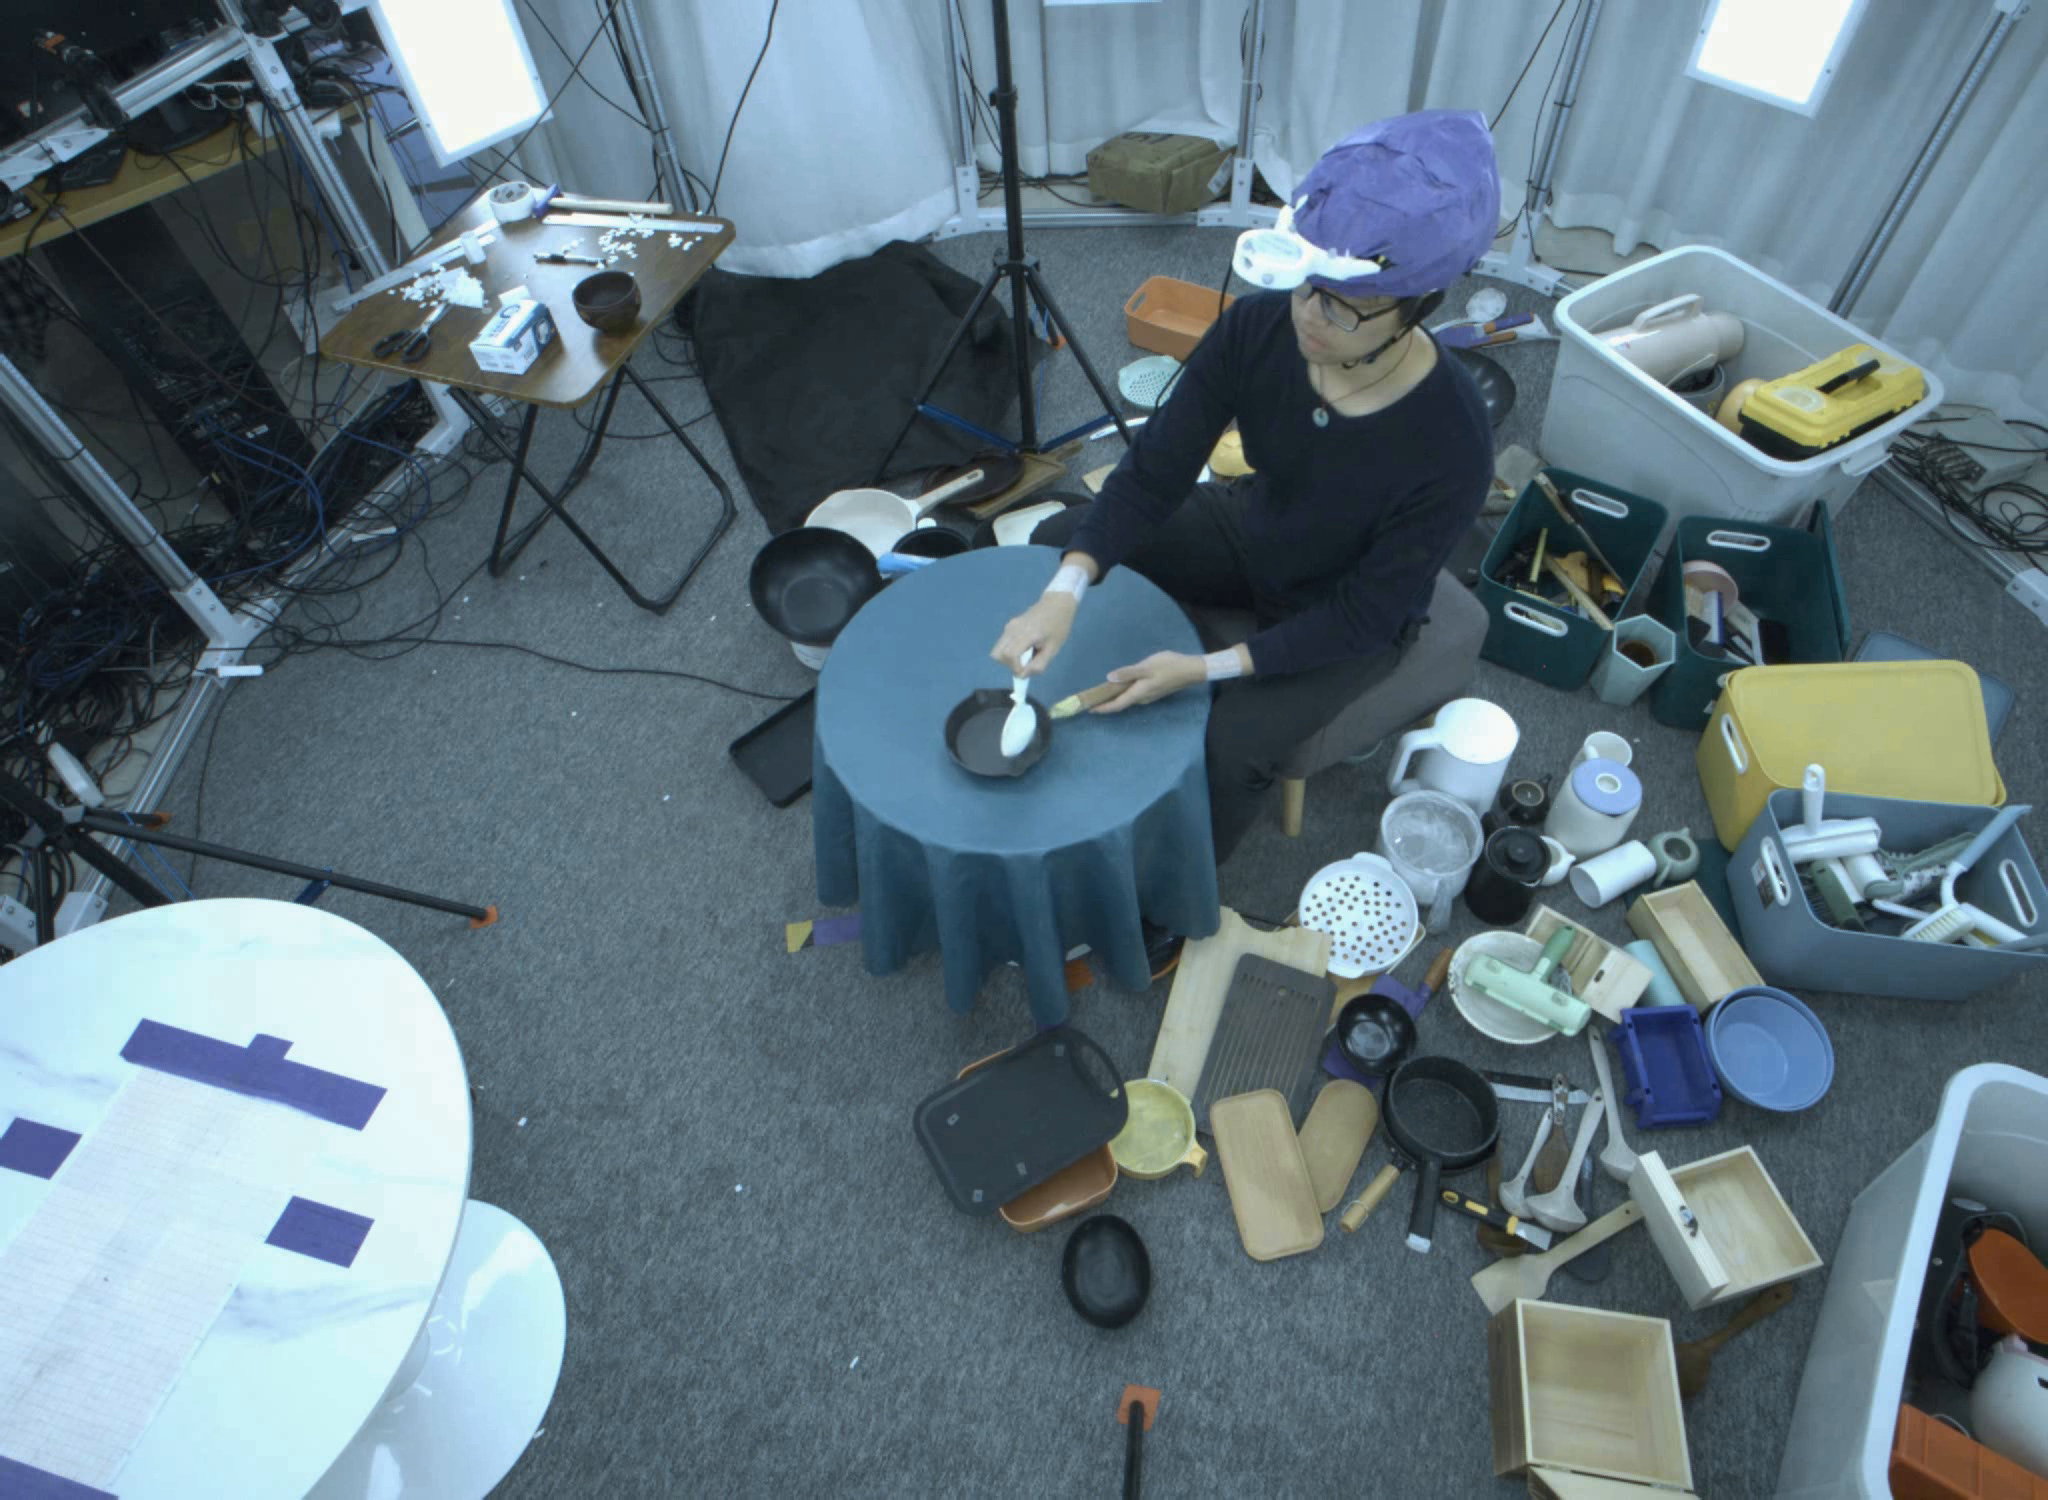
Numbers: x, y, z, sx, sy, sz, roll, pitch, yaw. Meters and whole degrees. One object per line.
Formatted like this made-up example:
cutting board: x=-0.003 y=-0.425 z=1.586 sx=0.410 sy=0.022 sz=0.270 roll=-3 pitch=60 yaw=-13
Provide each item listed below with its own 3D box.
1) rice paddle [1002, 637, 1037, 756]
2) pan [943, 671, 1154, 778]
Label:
rice paddle: x=-0.006 y=-0.067 z=1.704 sx=0.029 sy=0.207 sz=0.069 roll=35 pitch=54 yaw=30
pan: x=0.041 y=-0.051 z=1.791 sx=0.326 sy=0.050 sz=0.166 roll=-19 pitch=56 yaw=-10
